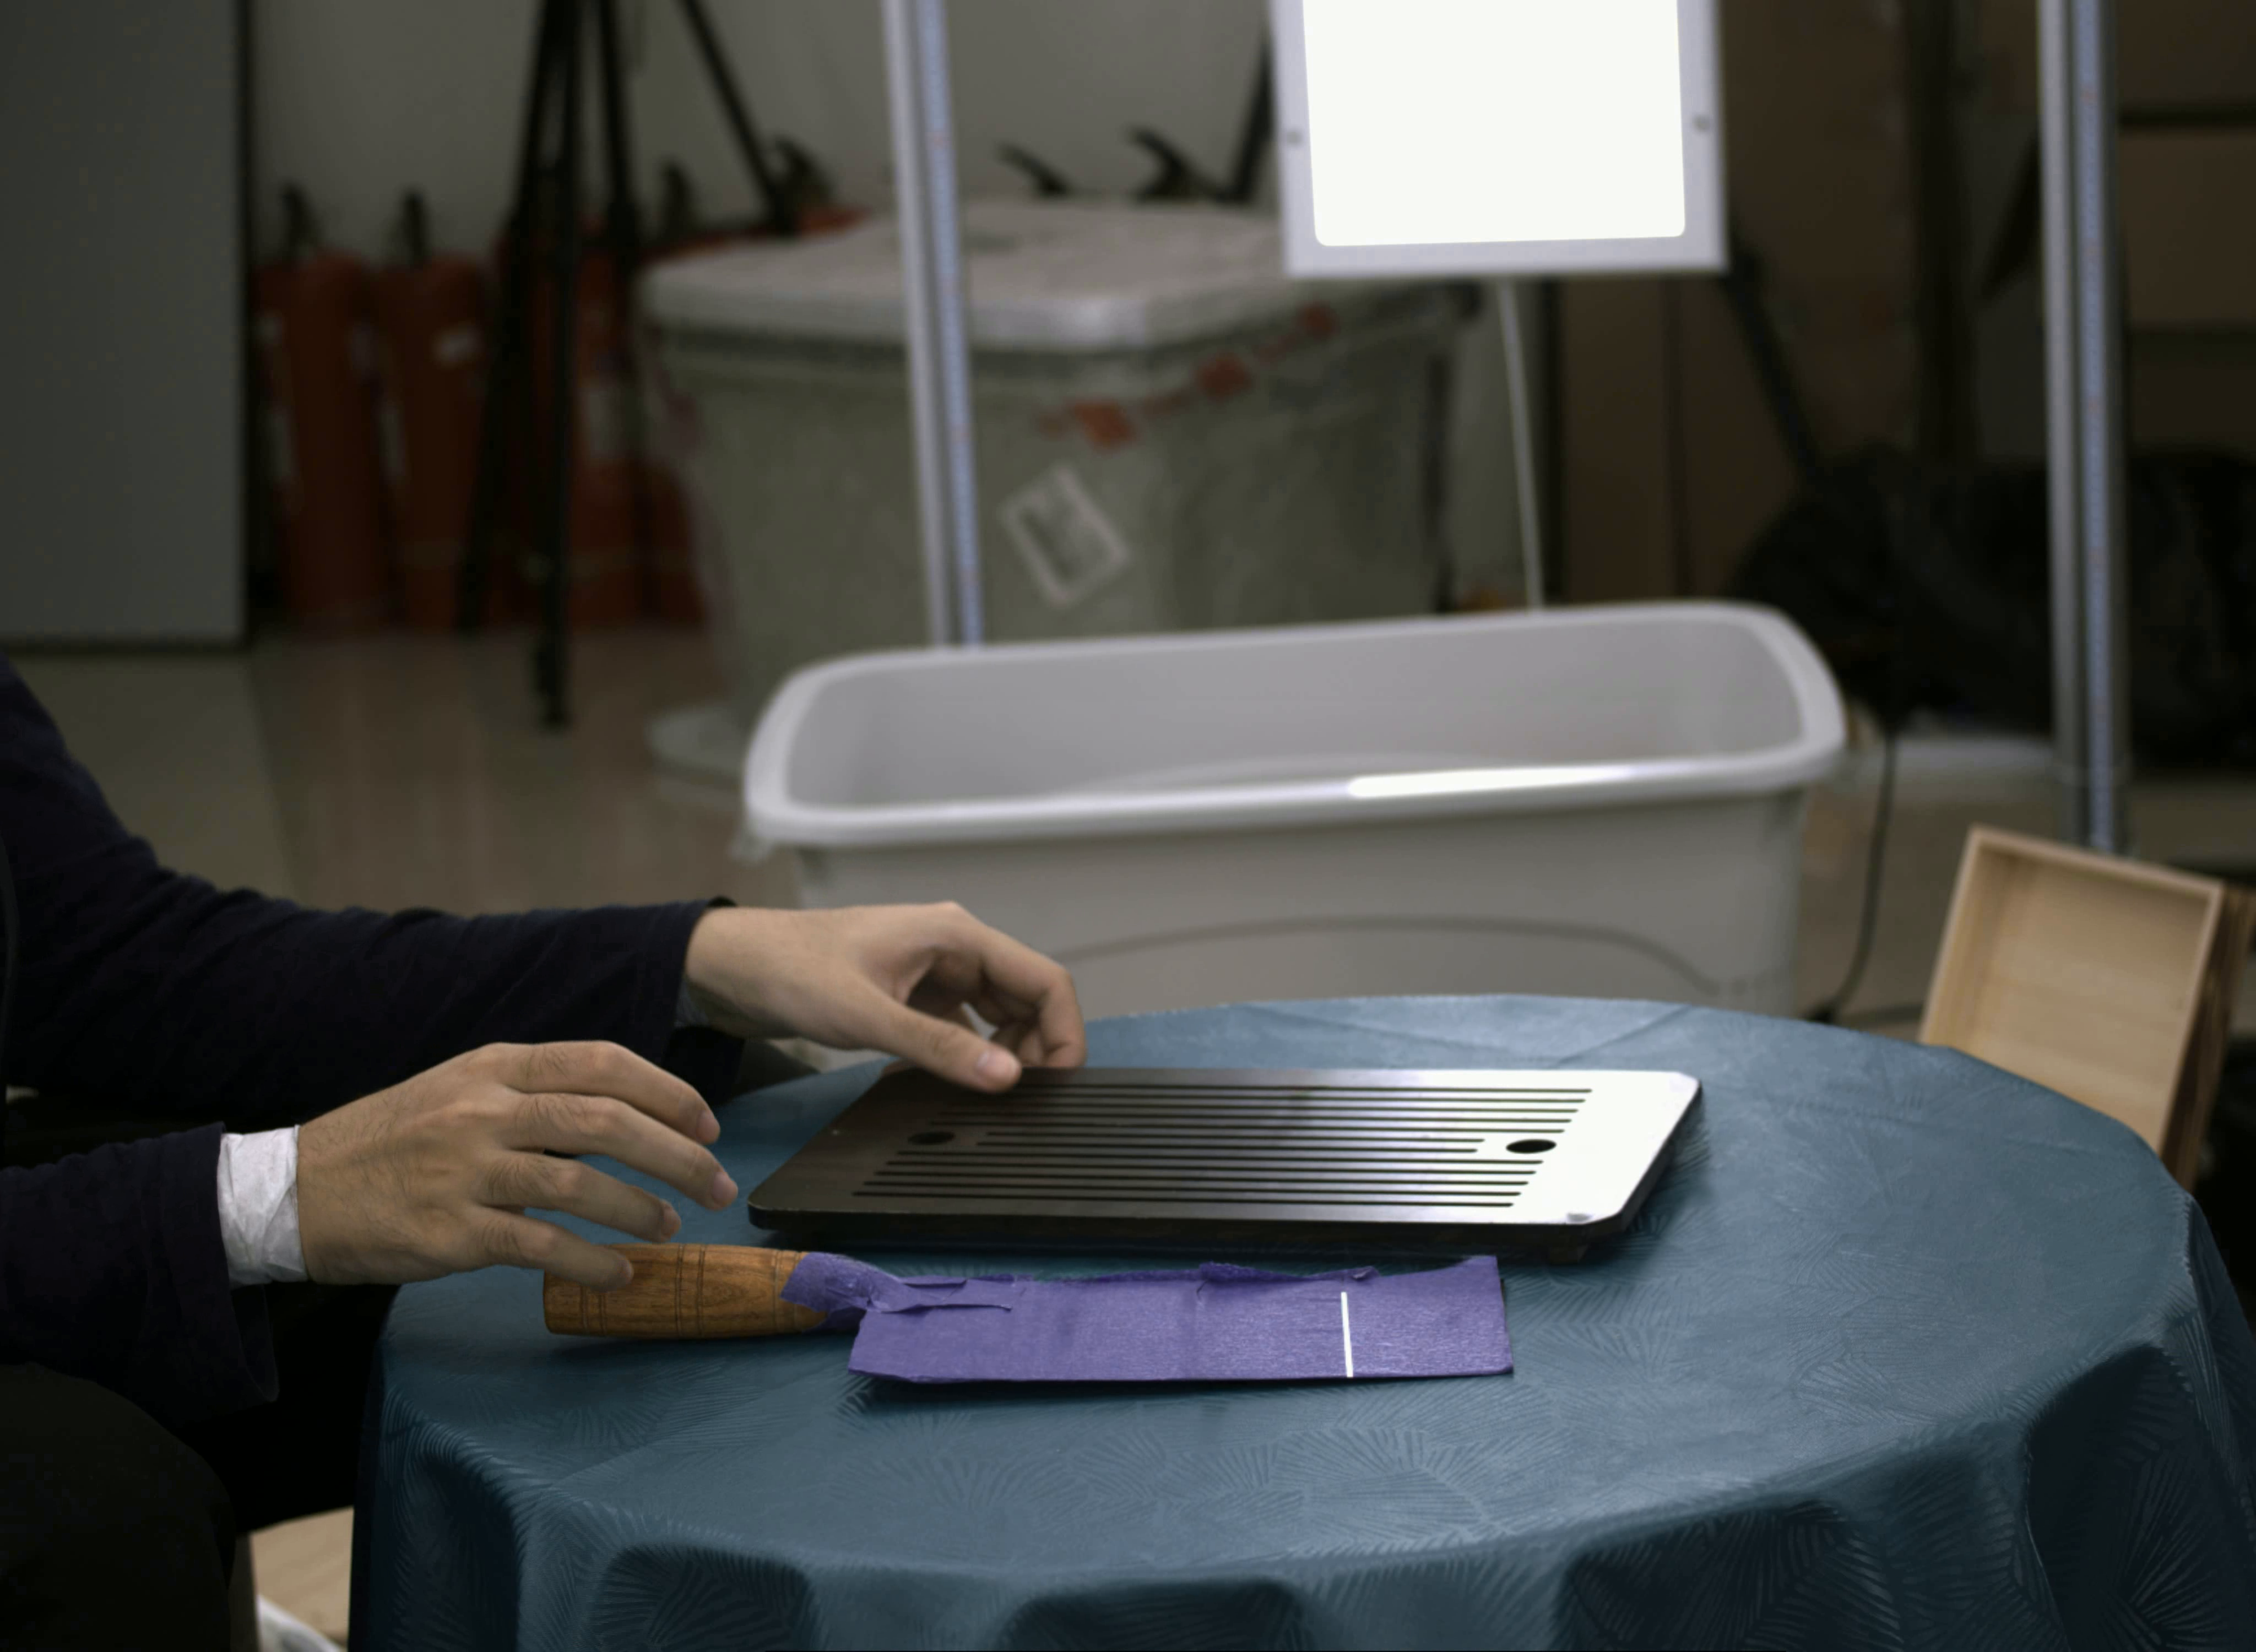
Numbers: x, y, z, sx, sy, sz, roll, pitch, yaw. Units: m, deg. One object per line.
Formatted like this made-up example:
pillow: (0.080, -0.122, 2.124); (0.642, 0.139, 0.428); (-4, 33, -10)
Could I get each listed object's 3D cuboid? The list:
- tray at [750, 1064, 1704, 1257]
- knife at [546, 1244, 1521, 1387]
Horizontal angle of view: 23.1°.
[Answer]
tray: (0.037, 0.114, 1.901); (0.310, 0.019, 0.167); (-1, 14, 19)
knife: (-0.033, 0.154, 1.745); (0.316, 0.032, 0.103); (-3, 13, 6)
